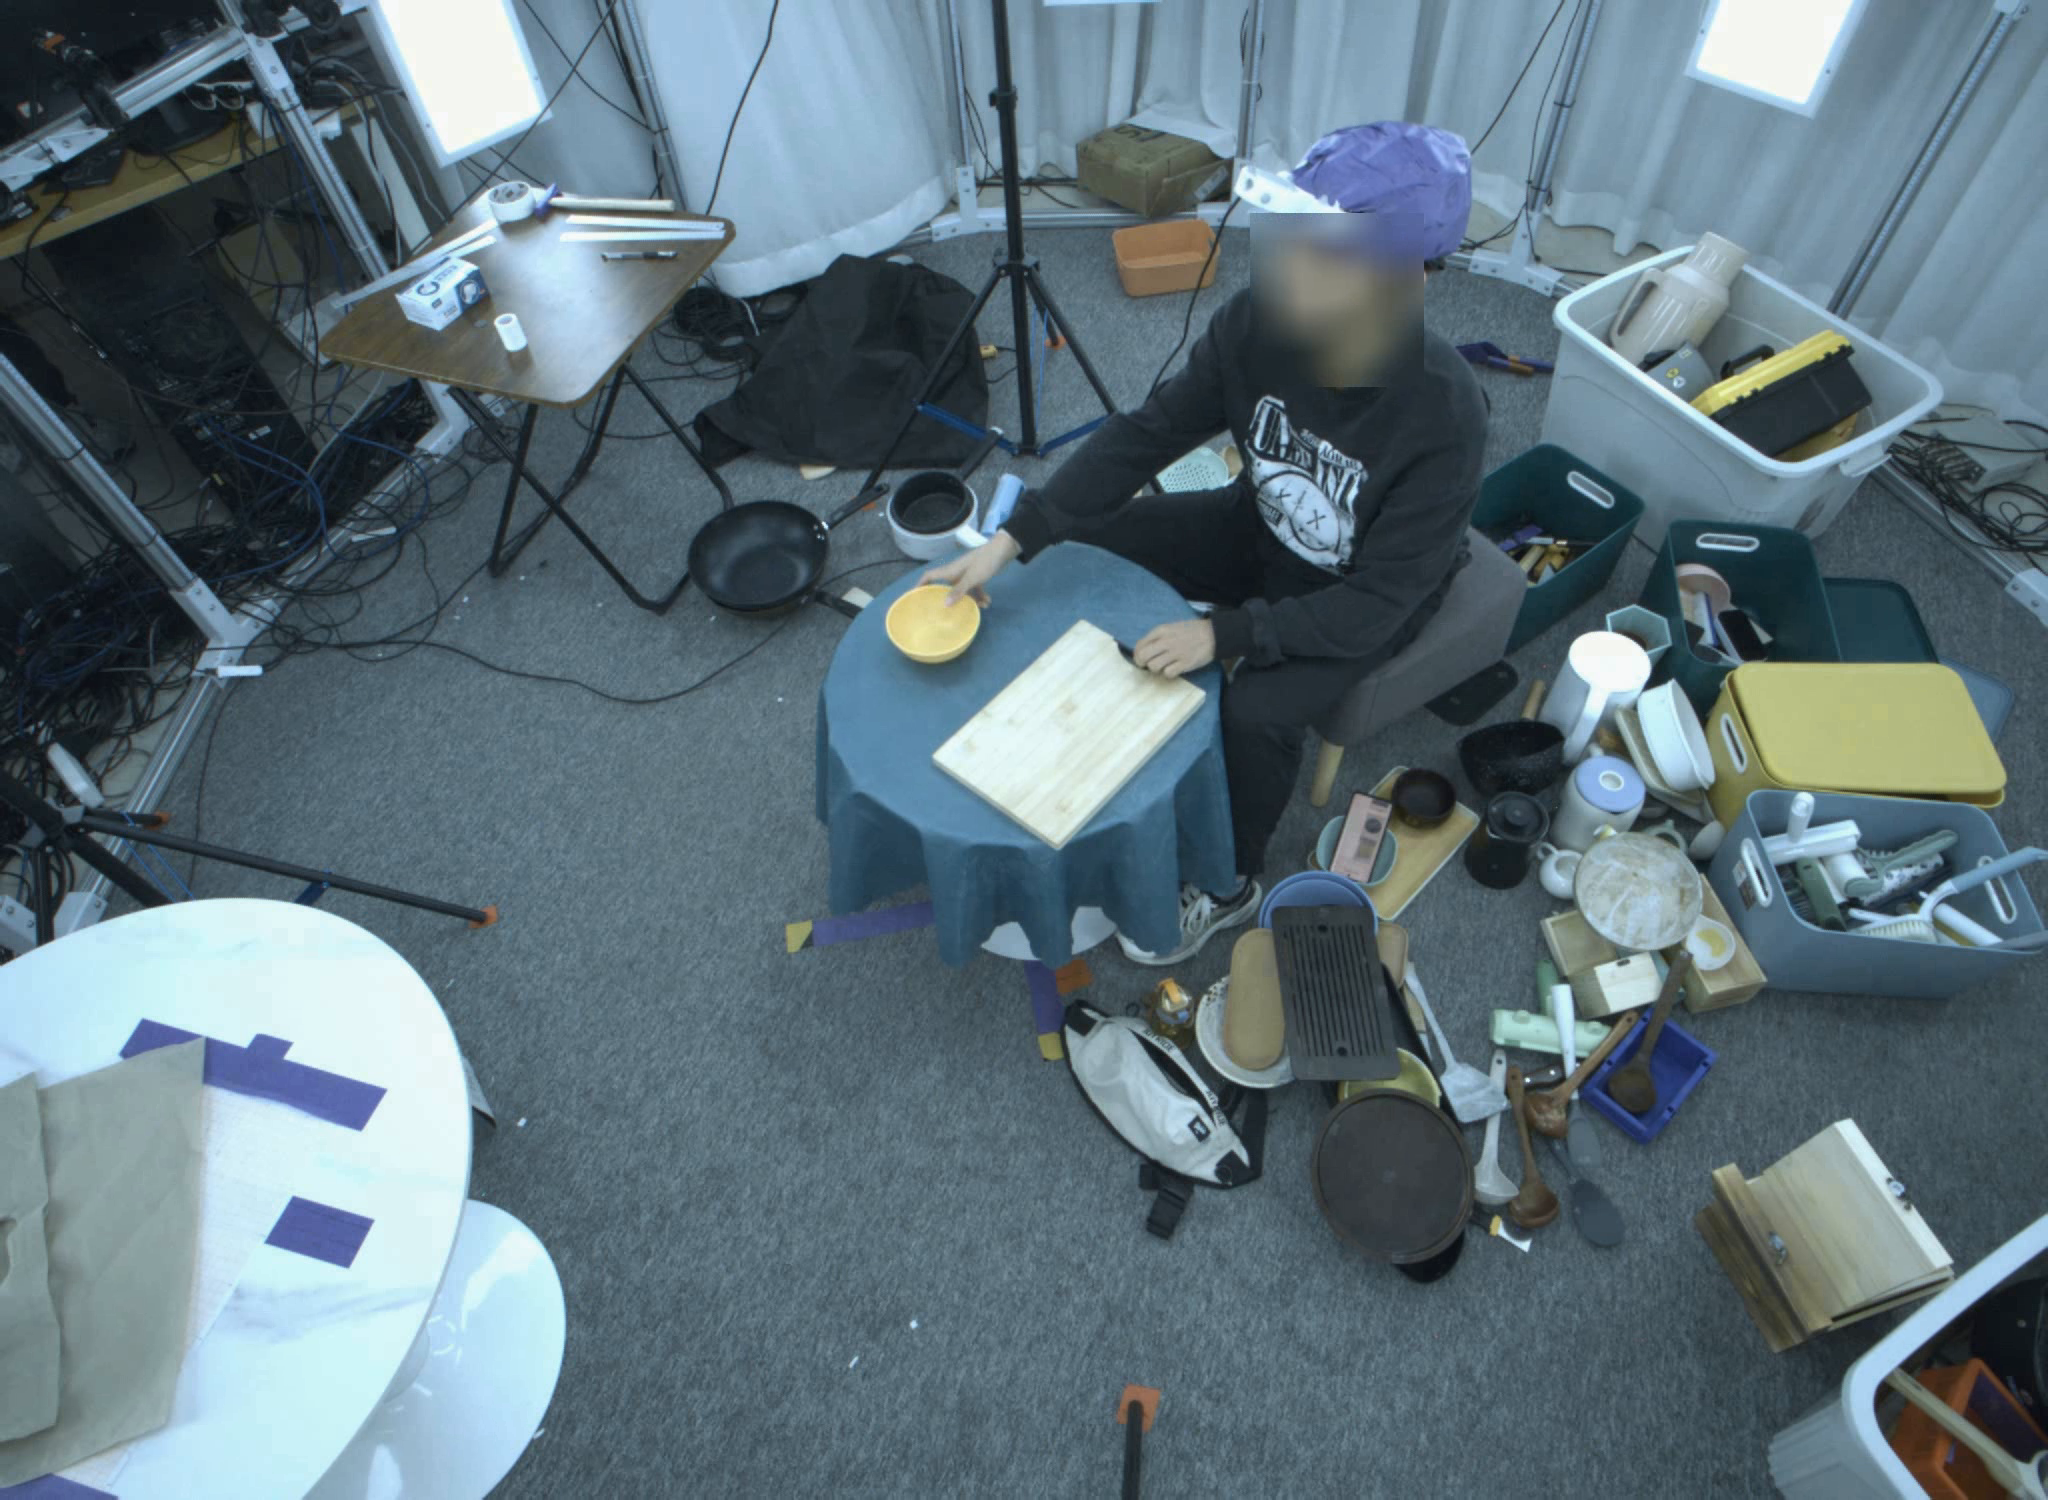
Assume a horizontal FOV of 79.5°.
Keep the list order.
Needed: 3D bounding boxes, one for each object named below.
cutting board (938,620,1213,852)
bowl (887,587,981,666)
[{"bbox_3d":[0.076,-0.031,1.807,0.246,0.024,0.350,34,62,22],"label":"cutting board"},{"bbox_3d":[-0.137,-0.179,1.893,0.145,0.060,0.144,1,56,0],"label":"bowl"}]
